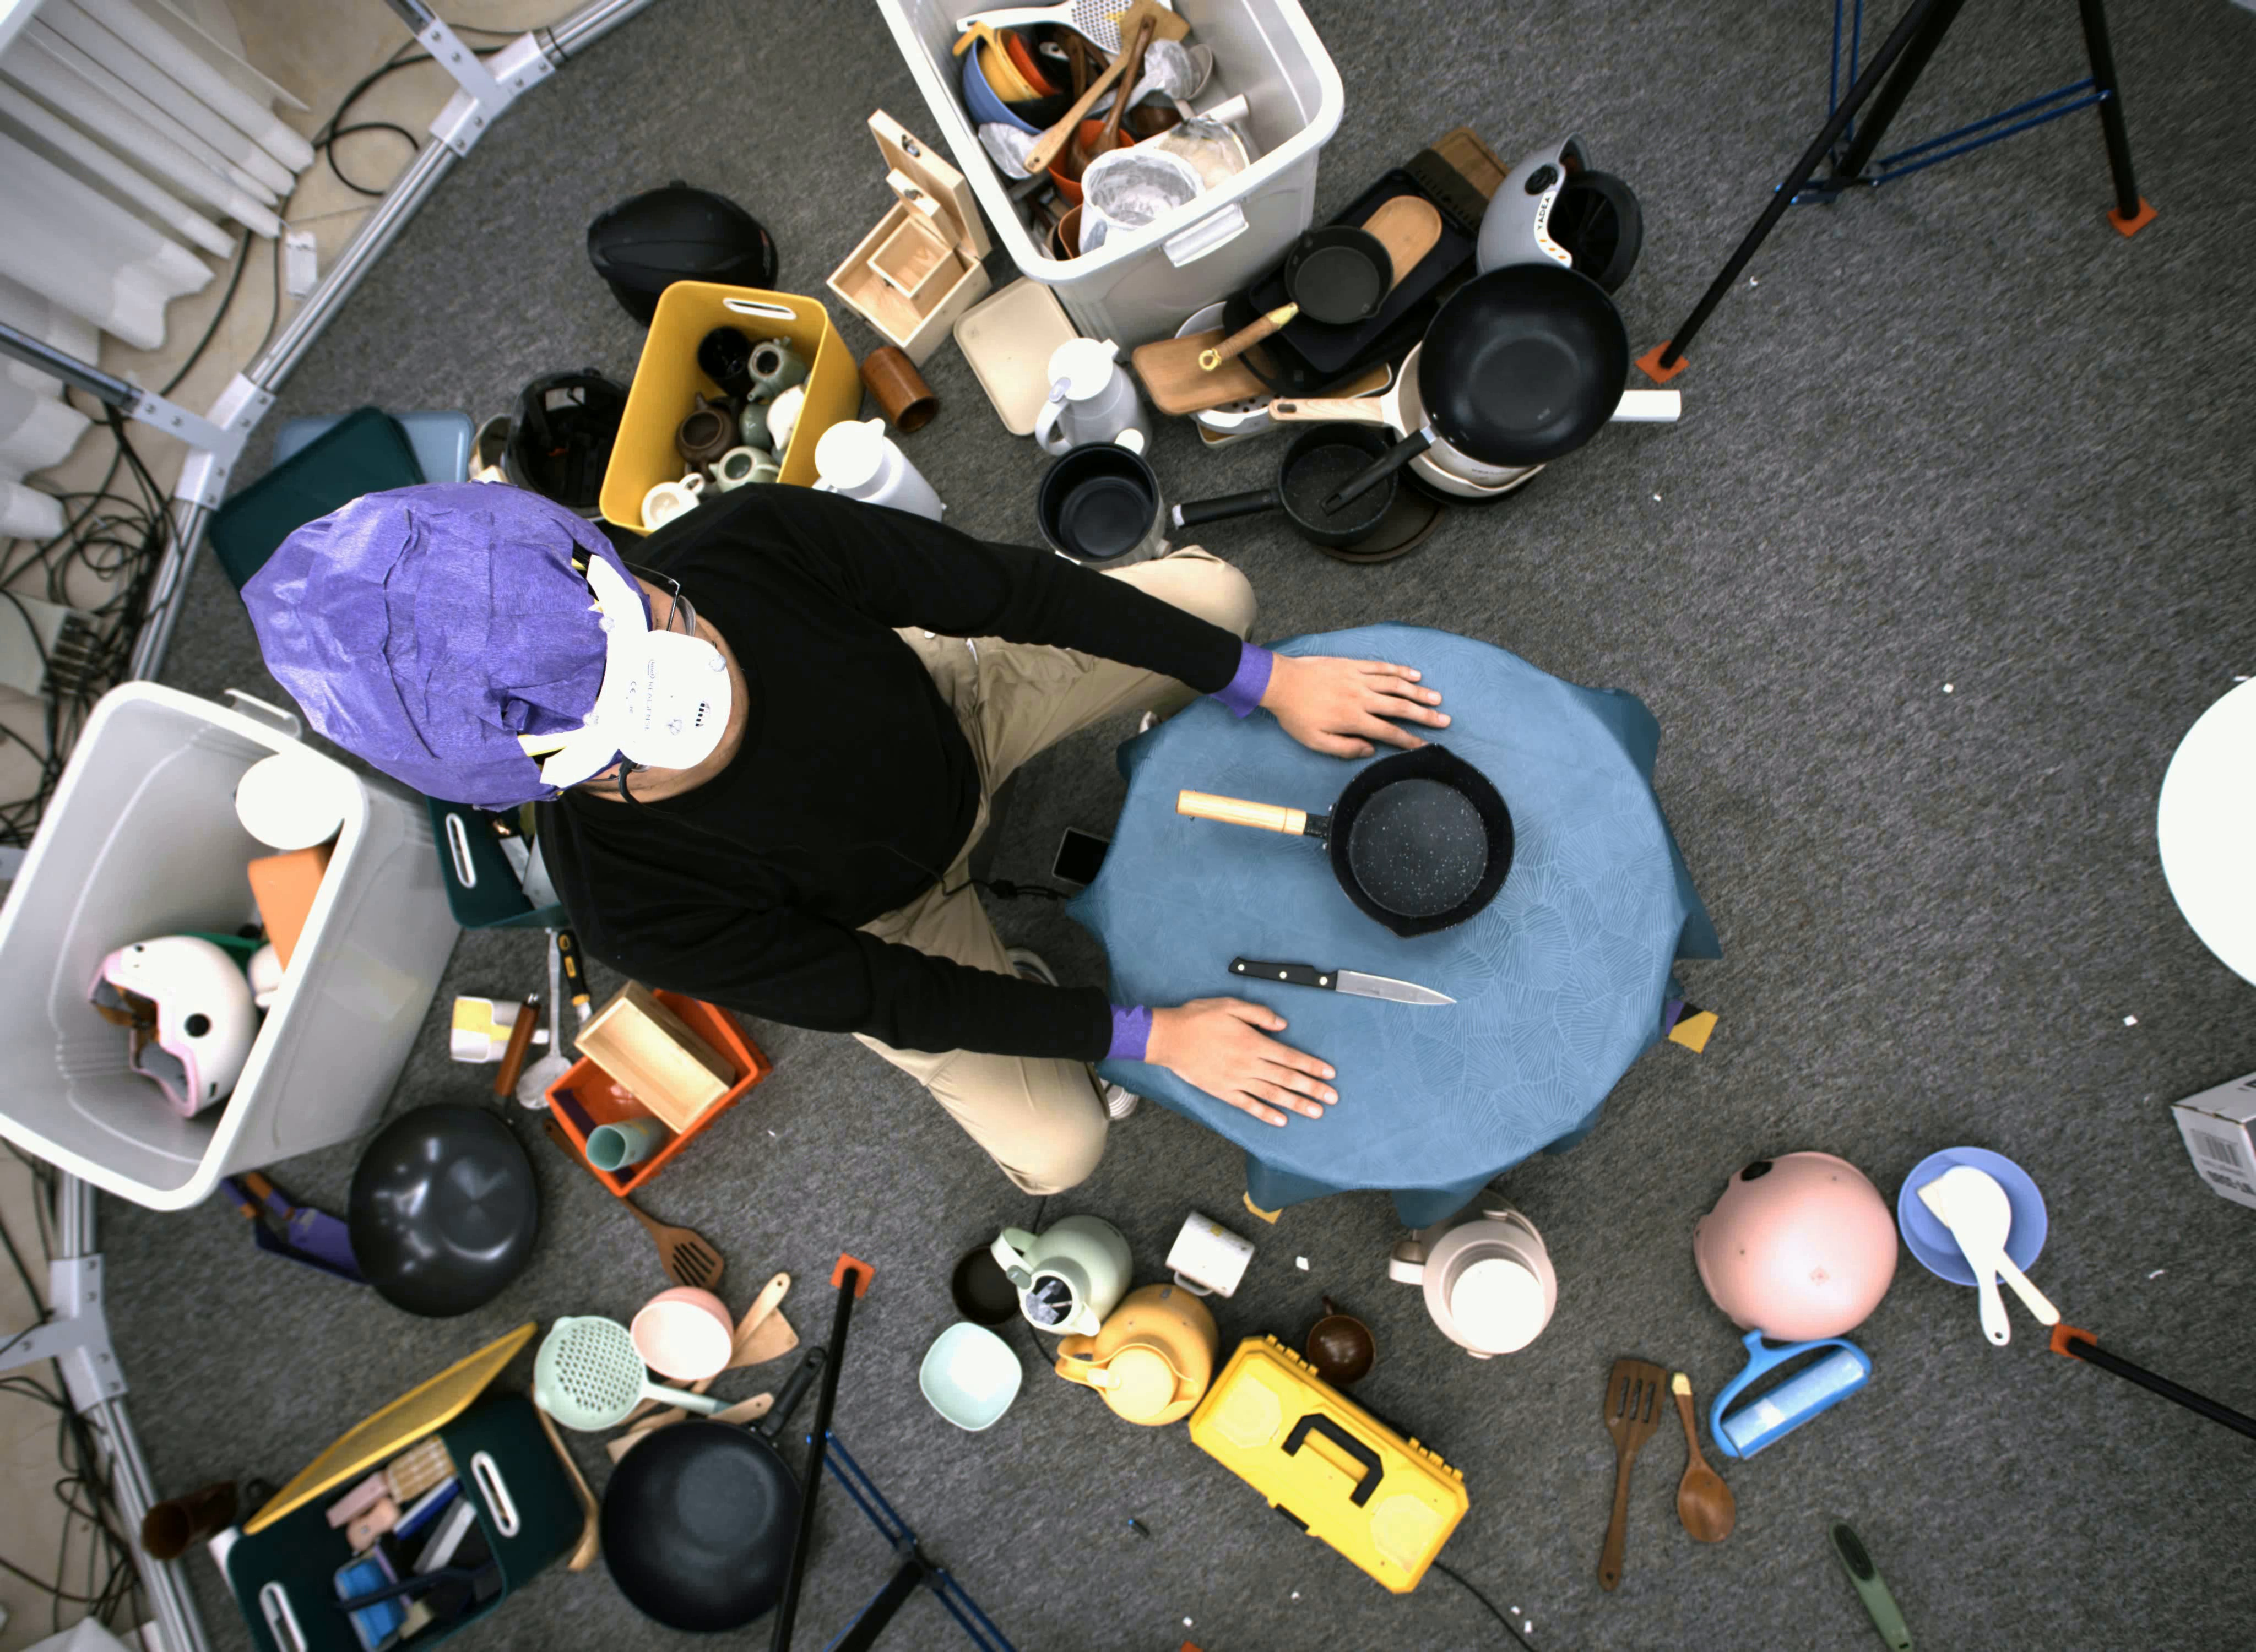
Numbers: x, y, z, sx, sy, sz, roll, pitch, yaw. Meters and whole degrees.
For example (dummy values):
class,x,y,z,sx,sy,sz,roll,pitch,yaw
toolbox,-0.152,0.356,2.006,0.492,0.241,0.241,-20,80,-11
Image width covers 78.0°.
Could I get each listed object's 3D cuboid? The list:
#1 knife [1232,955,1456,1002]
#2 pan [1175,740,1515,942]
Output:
class,x,y,z,sx,sy,sz,roll,pitch,yaw
knife,0.227,0.163,1.460,0.238,0.016,0.024,8,83,8
pan,0.220,0.006,1.421,0.343,0.108,0.207,9,89,10
